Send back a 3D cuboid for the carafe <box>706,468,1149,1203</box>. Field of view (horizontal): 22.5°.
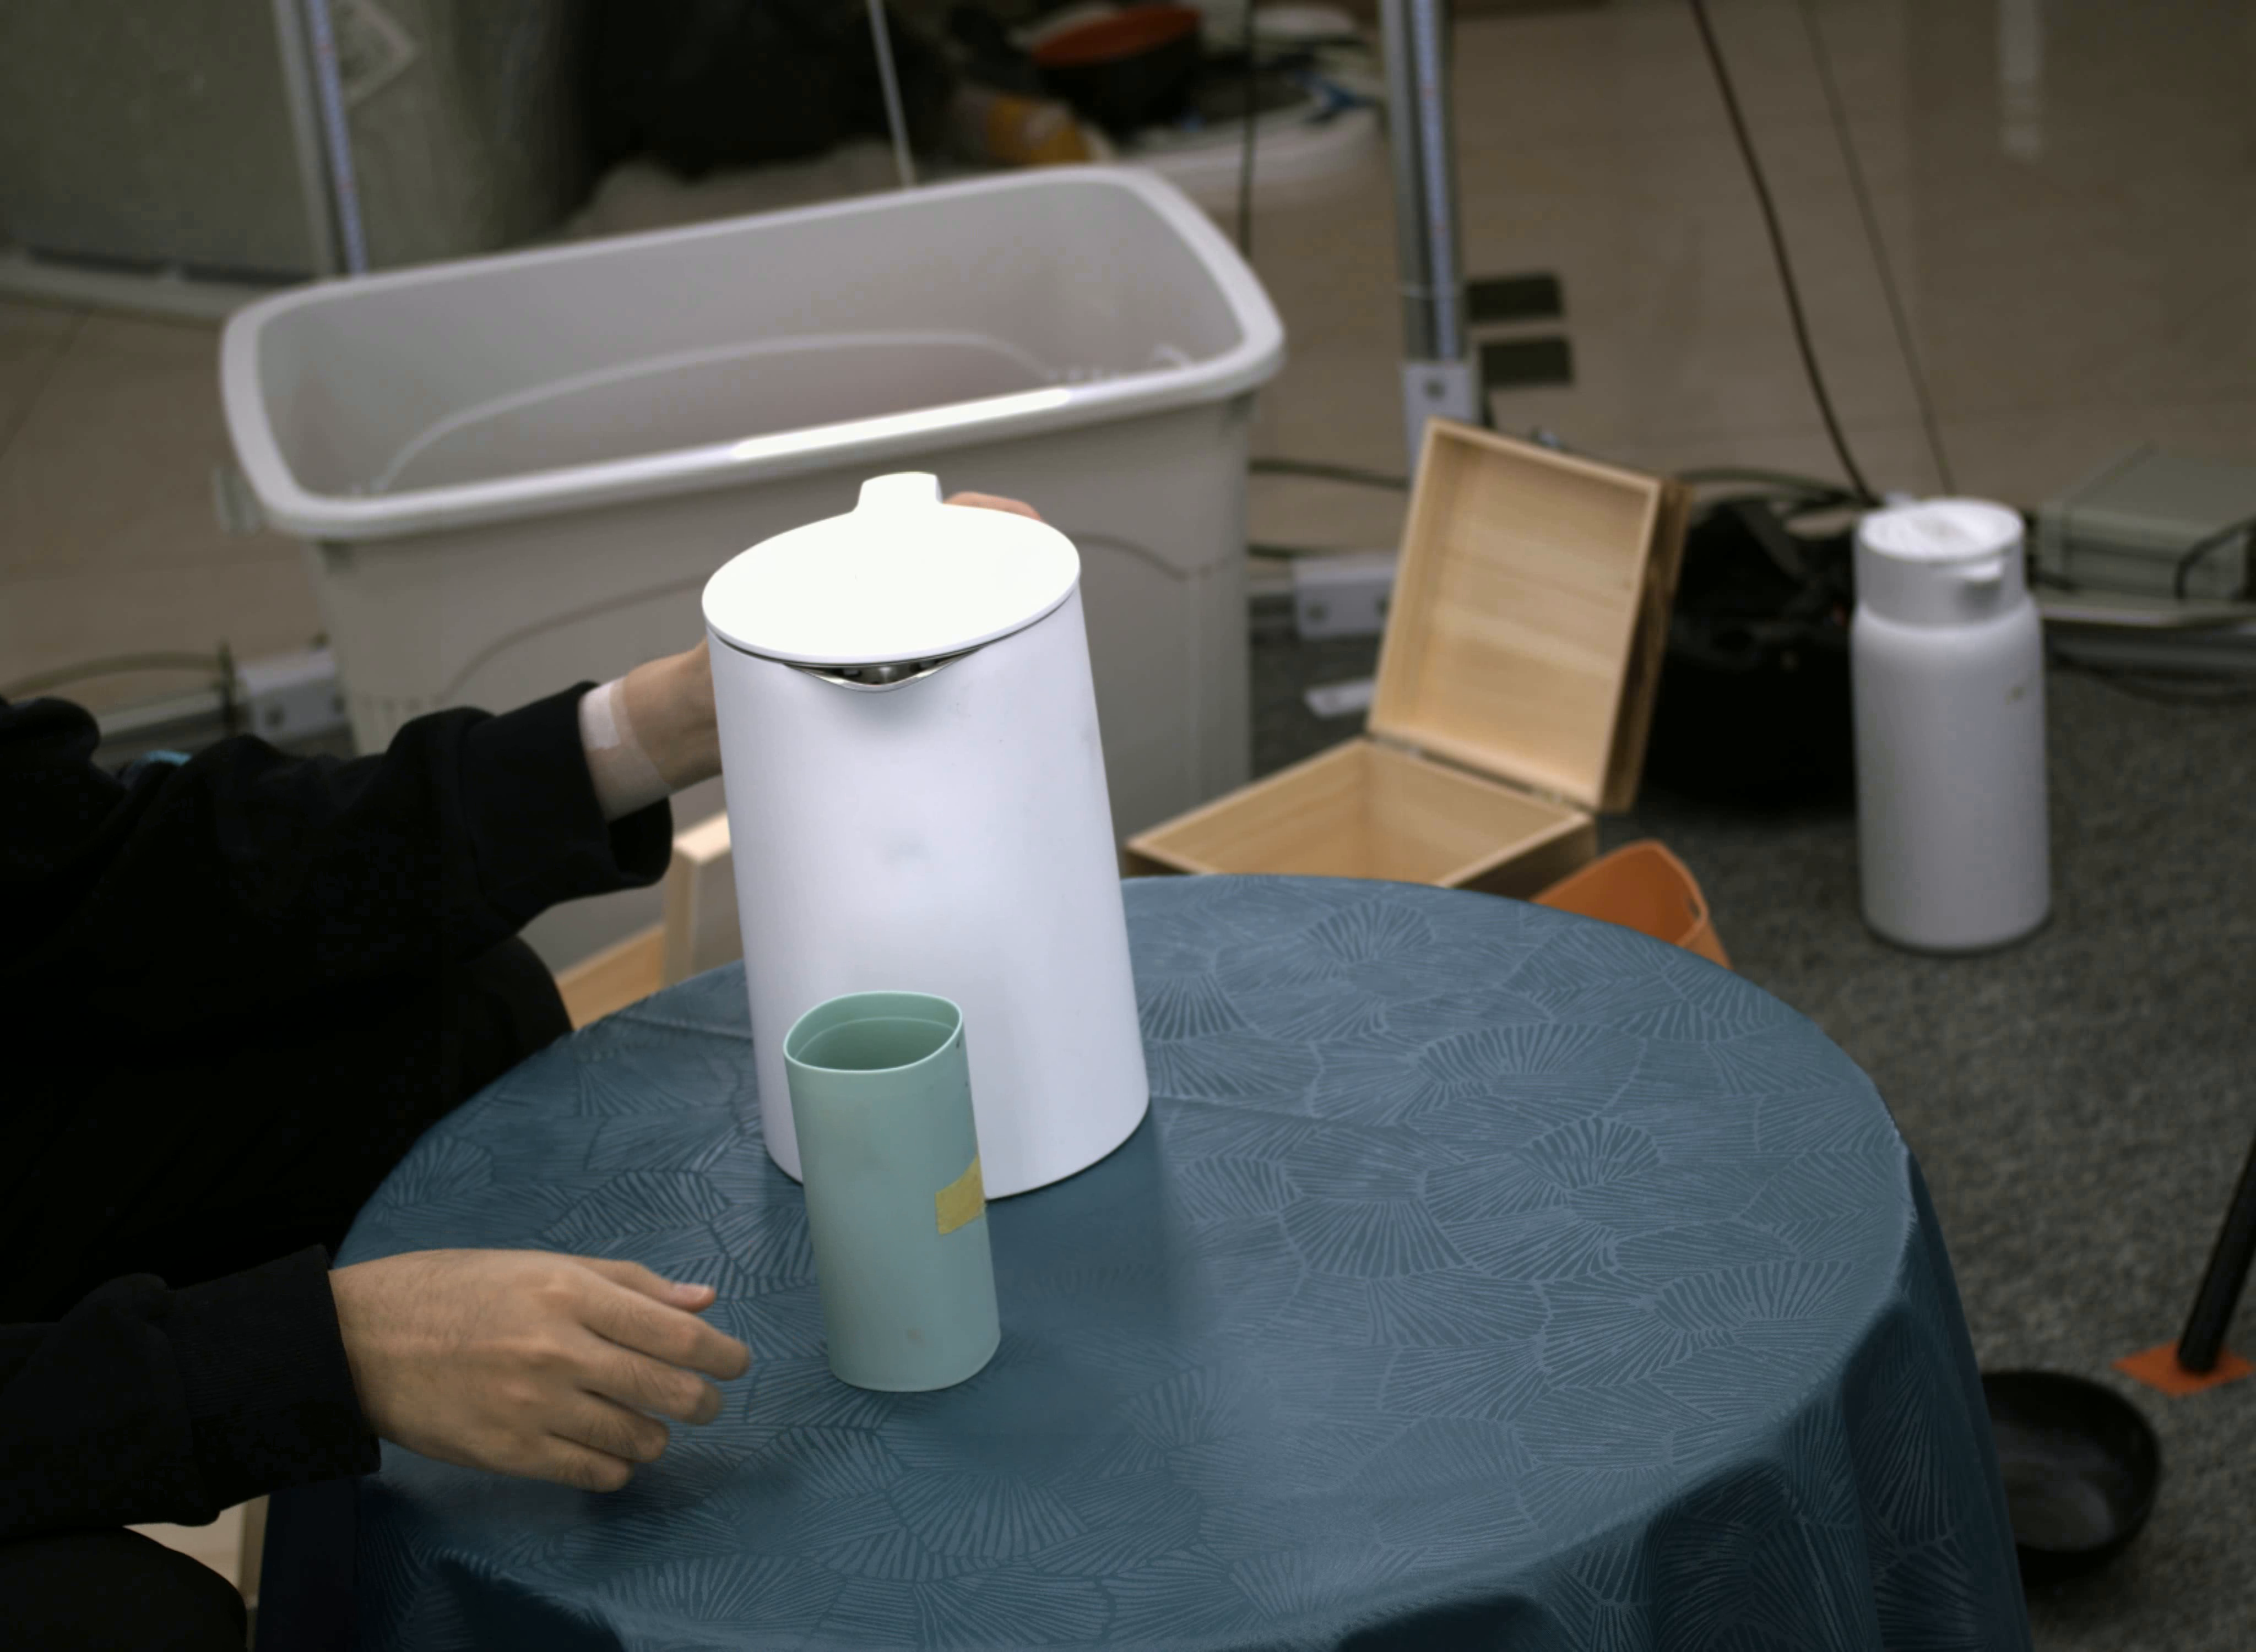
[{"bbox_3d":[-0.076,-0.002,2.185,0.152,0.244,0.210,-4,26,3],"label":"carafe"}]

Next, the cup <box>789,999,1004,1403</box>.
[{"bbox_3d":[-0.083,0.134,2.026,0.066,0.134,0.066,-5,27,2],"label":"cup"}]
